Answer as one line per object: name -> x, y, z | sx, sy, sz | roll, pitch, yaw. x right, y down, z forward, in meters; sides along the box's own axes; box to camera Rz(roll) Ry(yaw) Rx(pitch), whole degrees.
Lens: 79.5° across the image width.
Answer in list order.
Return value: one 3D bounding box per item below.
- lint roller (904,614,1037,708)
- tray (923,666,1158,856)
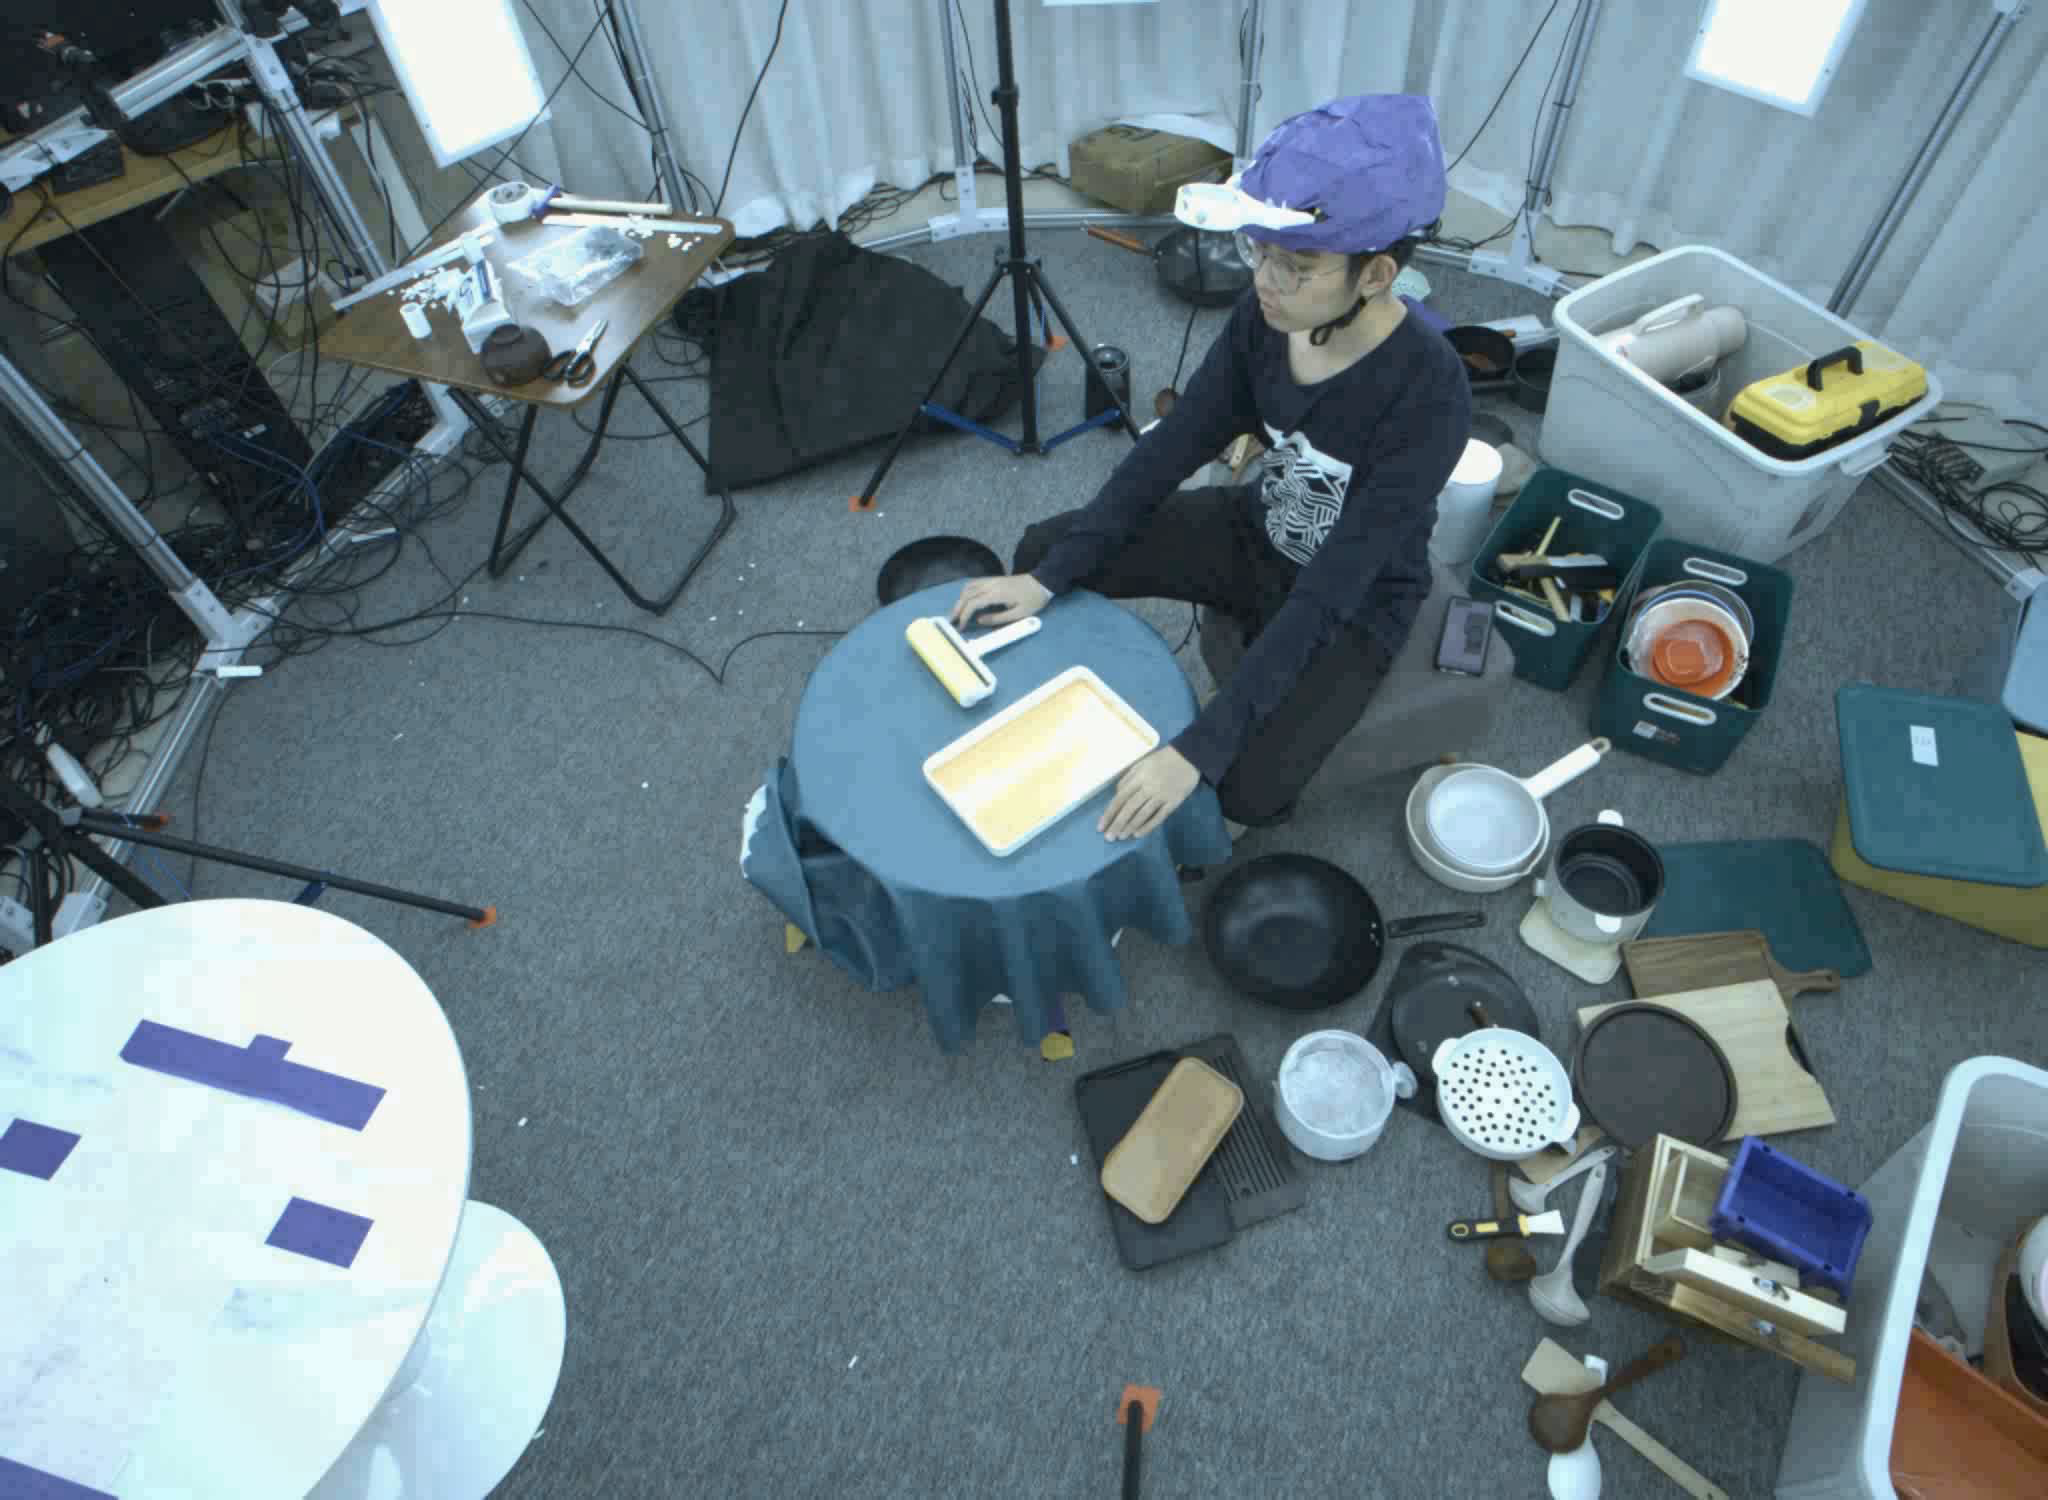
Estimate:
lint roller -> -0.063, -0.169, 1.887 | 0.193, 0.052, 0.171 | -32, 61, -16
tray -> 0.025, 0.010, 1.770 | 0.303, 0.027, 0.188 | -33, 61, -21
